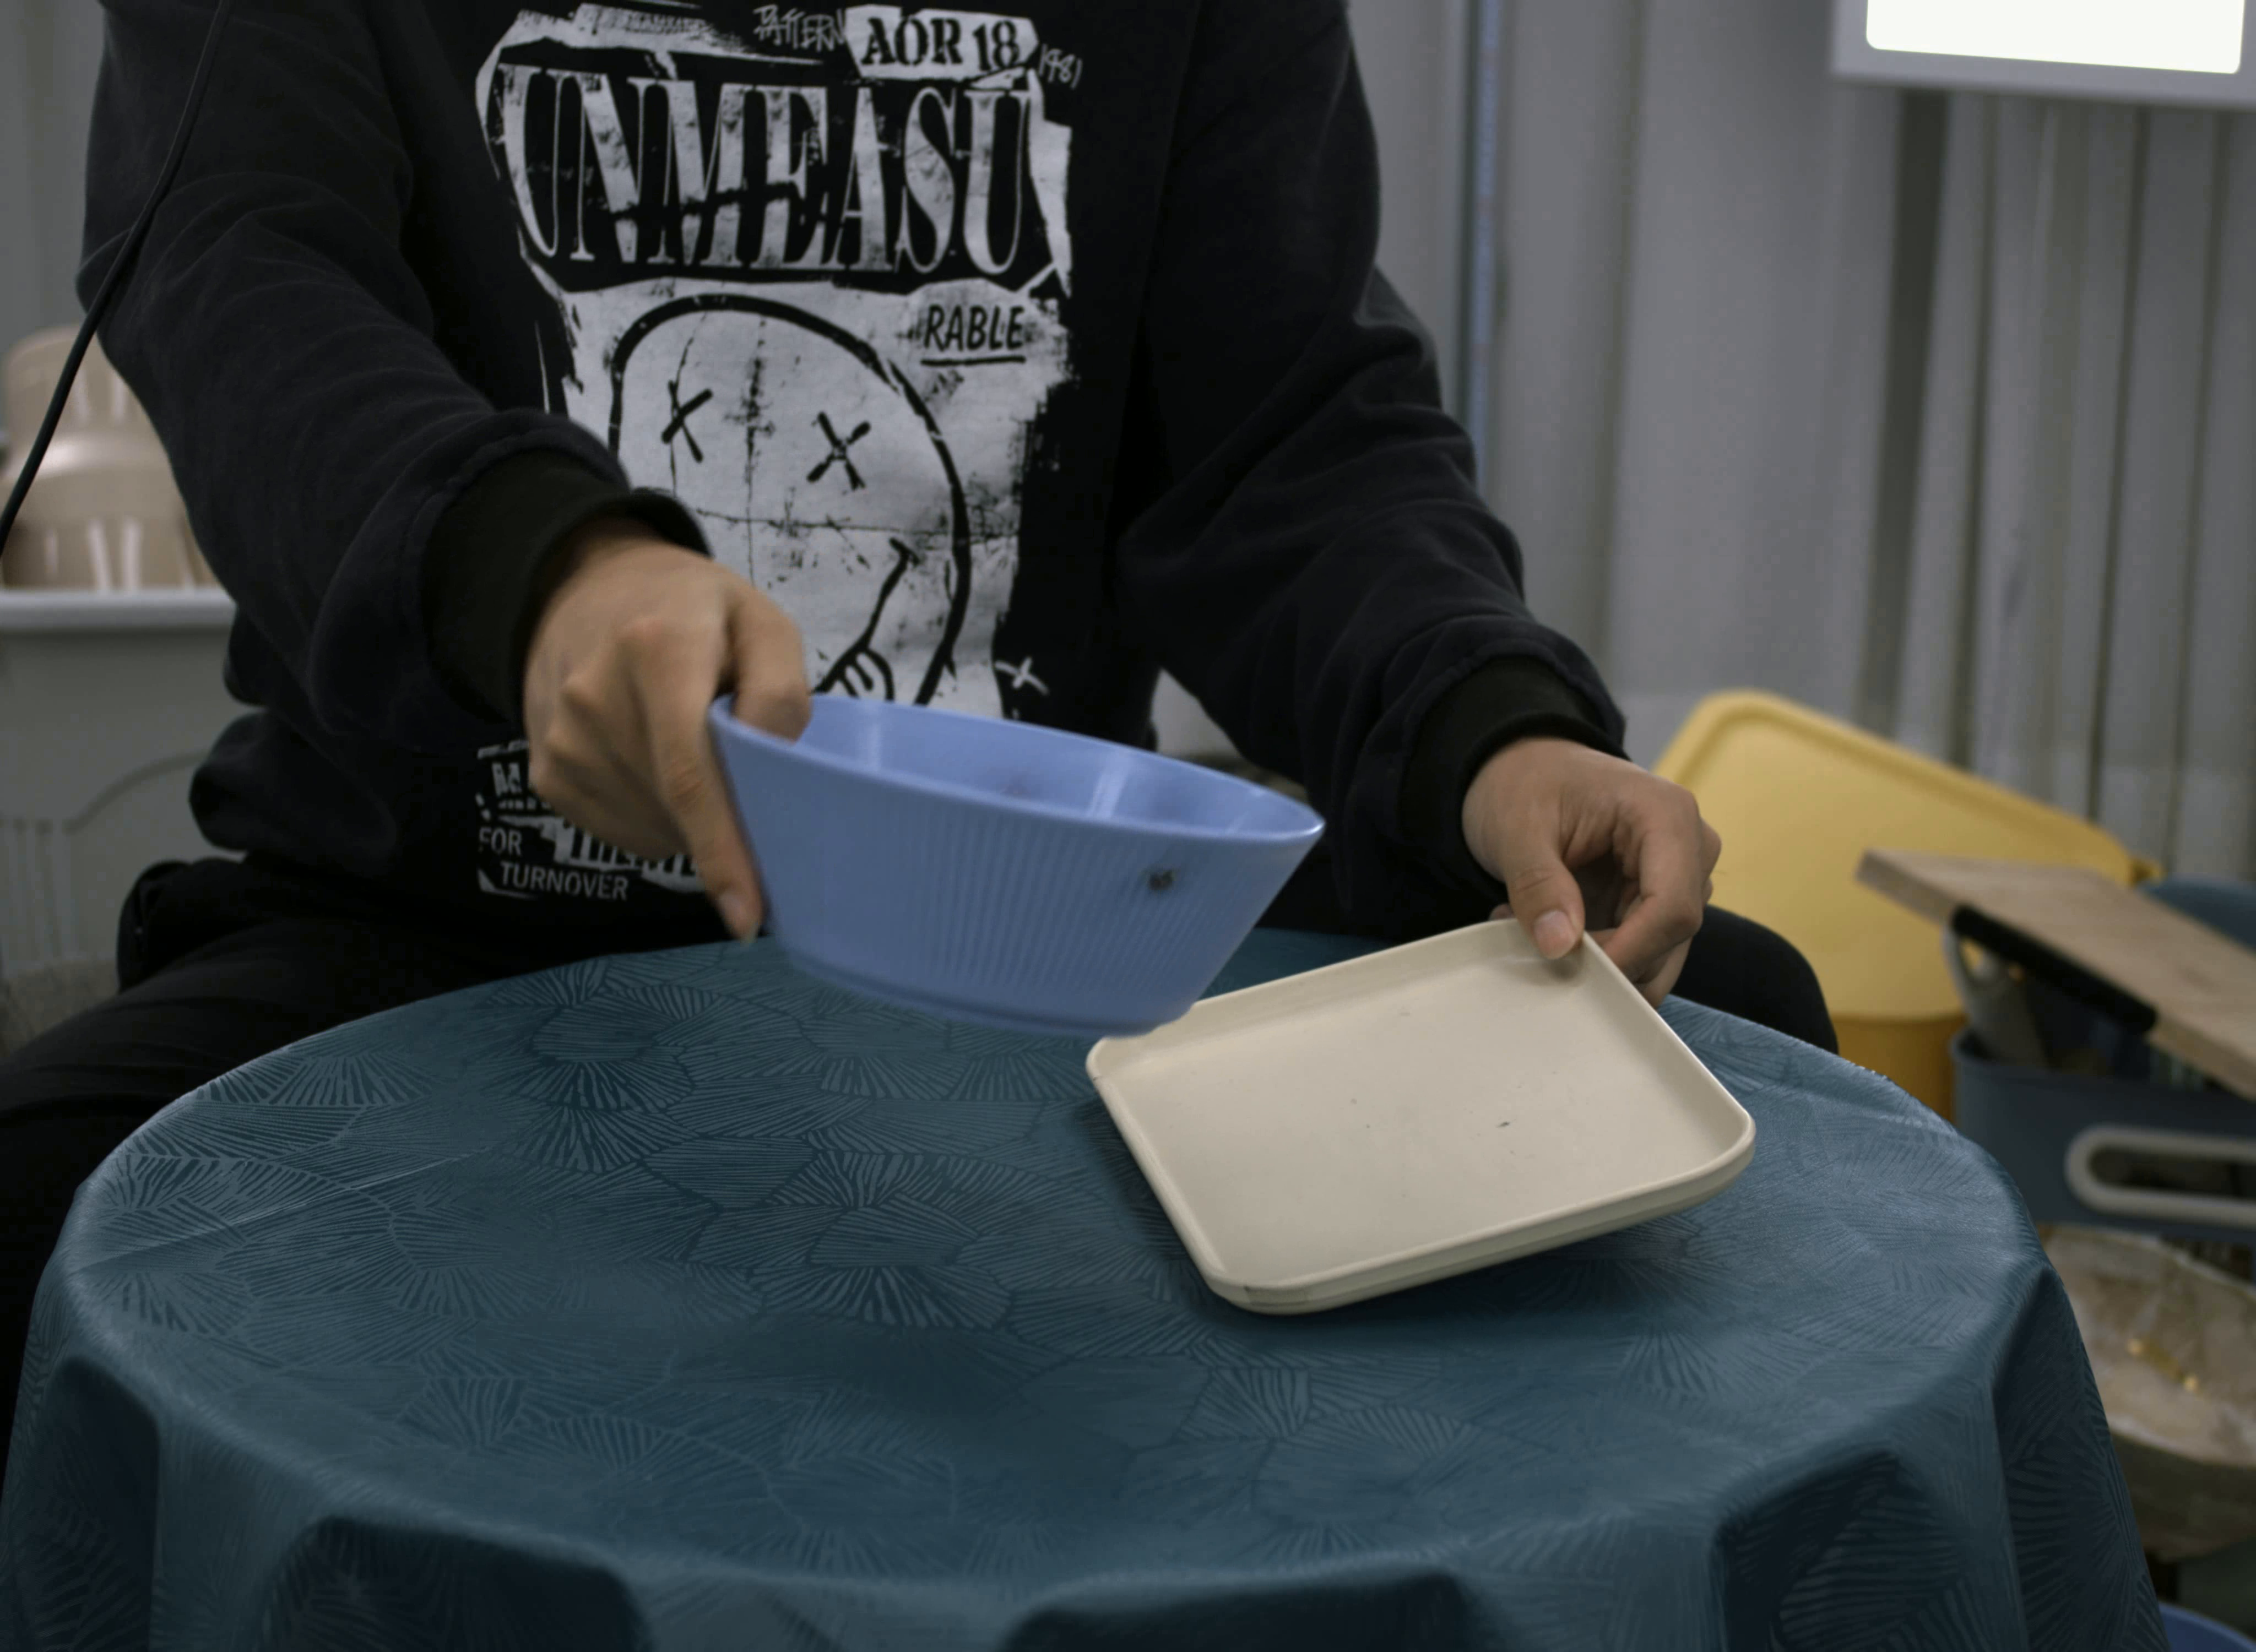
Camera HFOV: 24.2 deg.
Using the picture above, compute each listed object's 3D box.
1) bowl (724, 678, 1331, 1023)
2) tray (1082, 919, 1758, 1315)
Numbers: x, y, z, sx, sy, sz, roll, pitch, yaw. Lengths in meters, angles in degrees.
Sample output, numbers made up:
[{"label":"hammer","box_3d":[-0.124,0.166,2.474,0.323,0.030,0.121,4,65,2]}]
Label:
[{"label":"bowl","box_3d":[-0.035,0.009,1.485,0.175,0.070,0.175,13,6,-1]},{"label":"tray","box_3d":[0.086,0.088,1.625,0.171,0.017,0.237,-14,19,-8]}]
